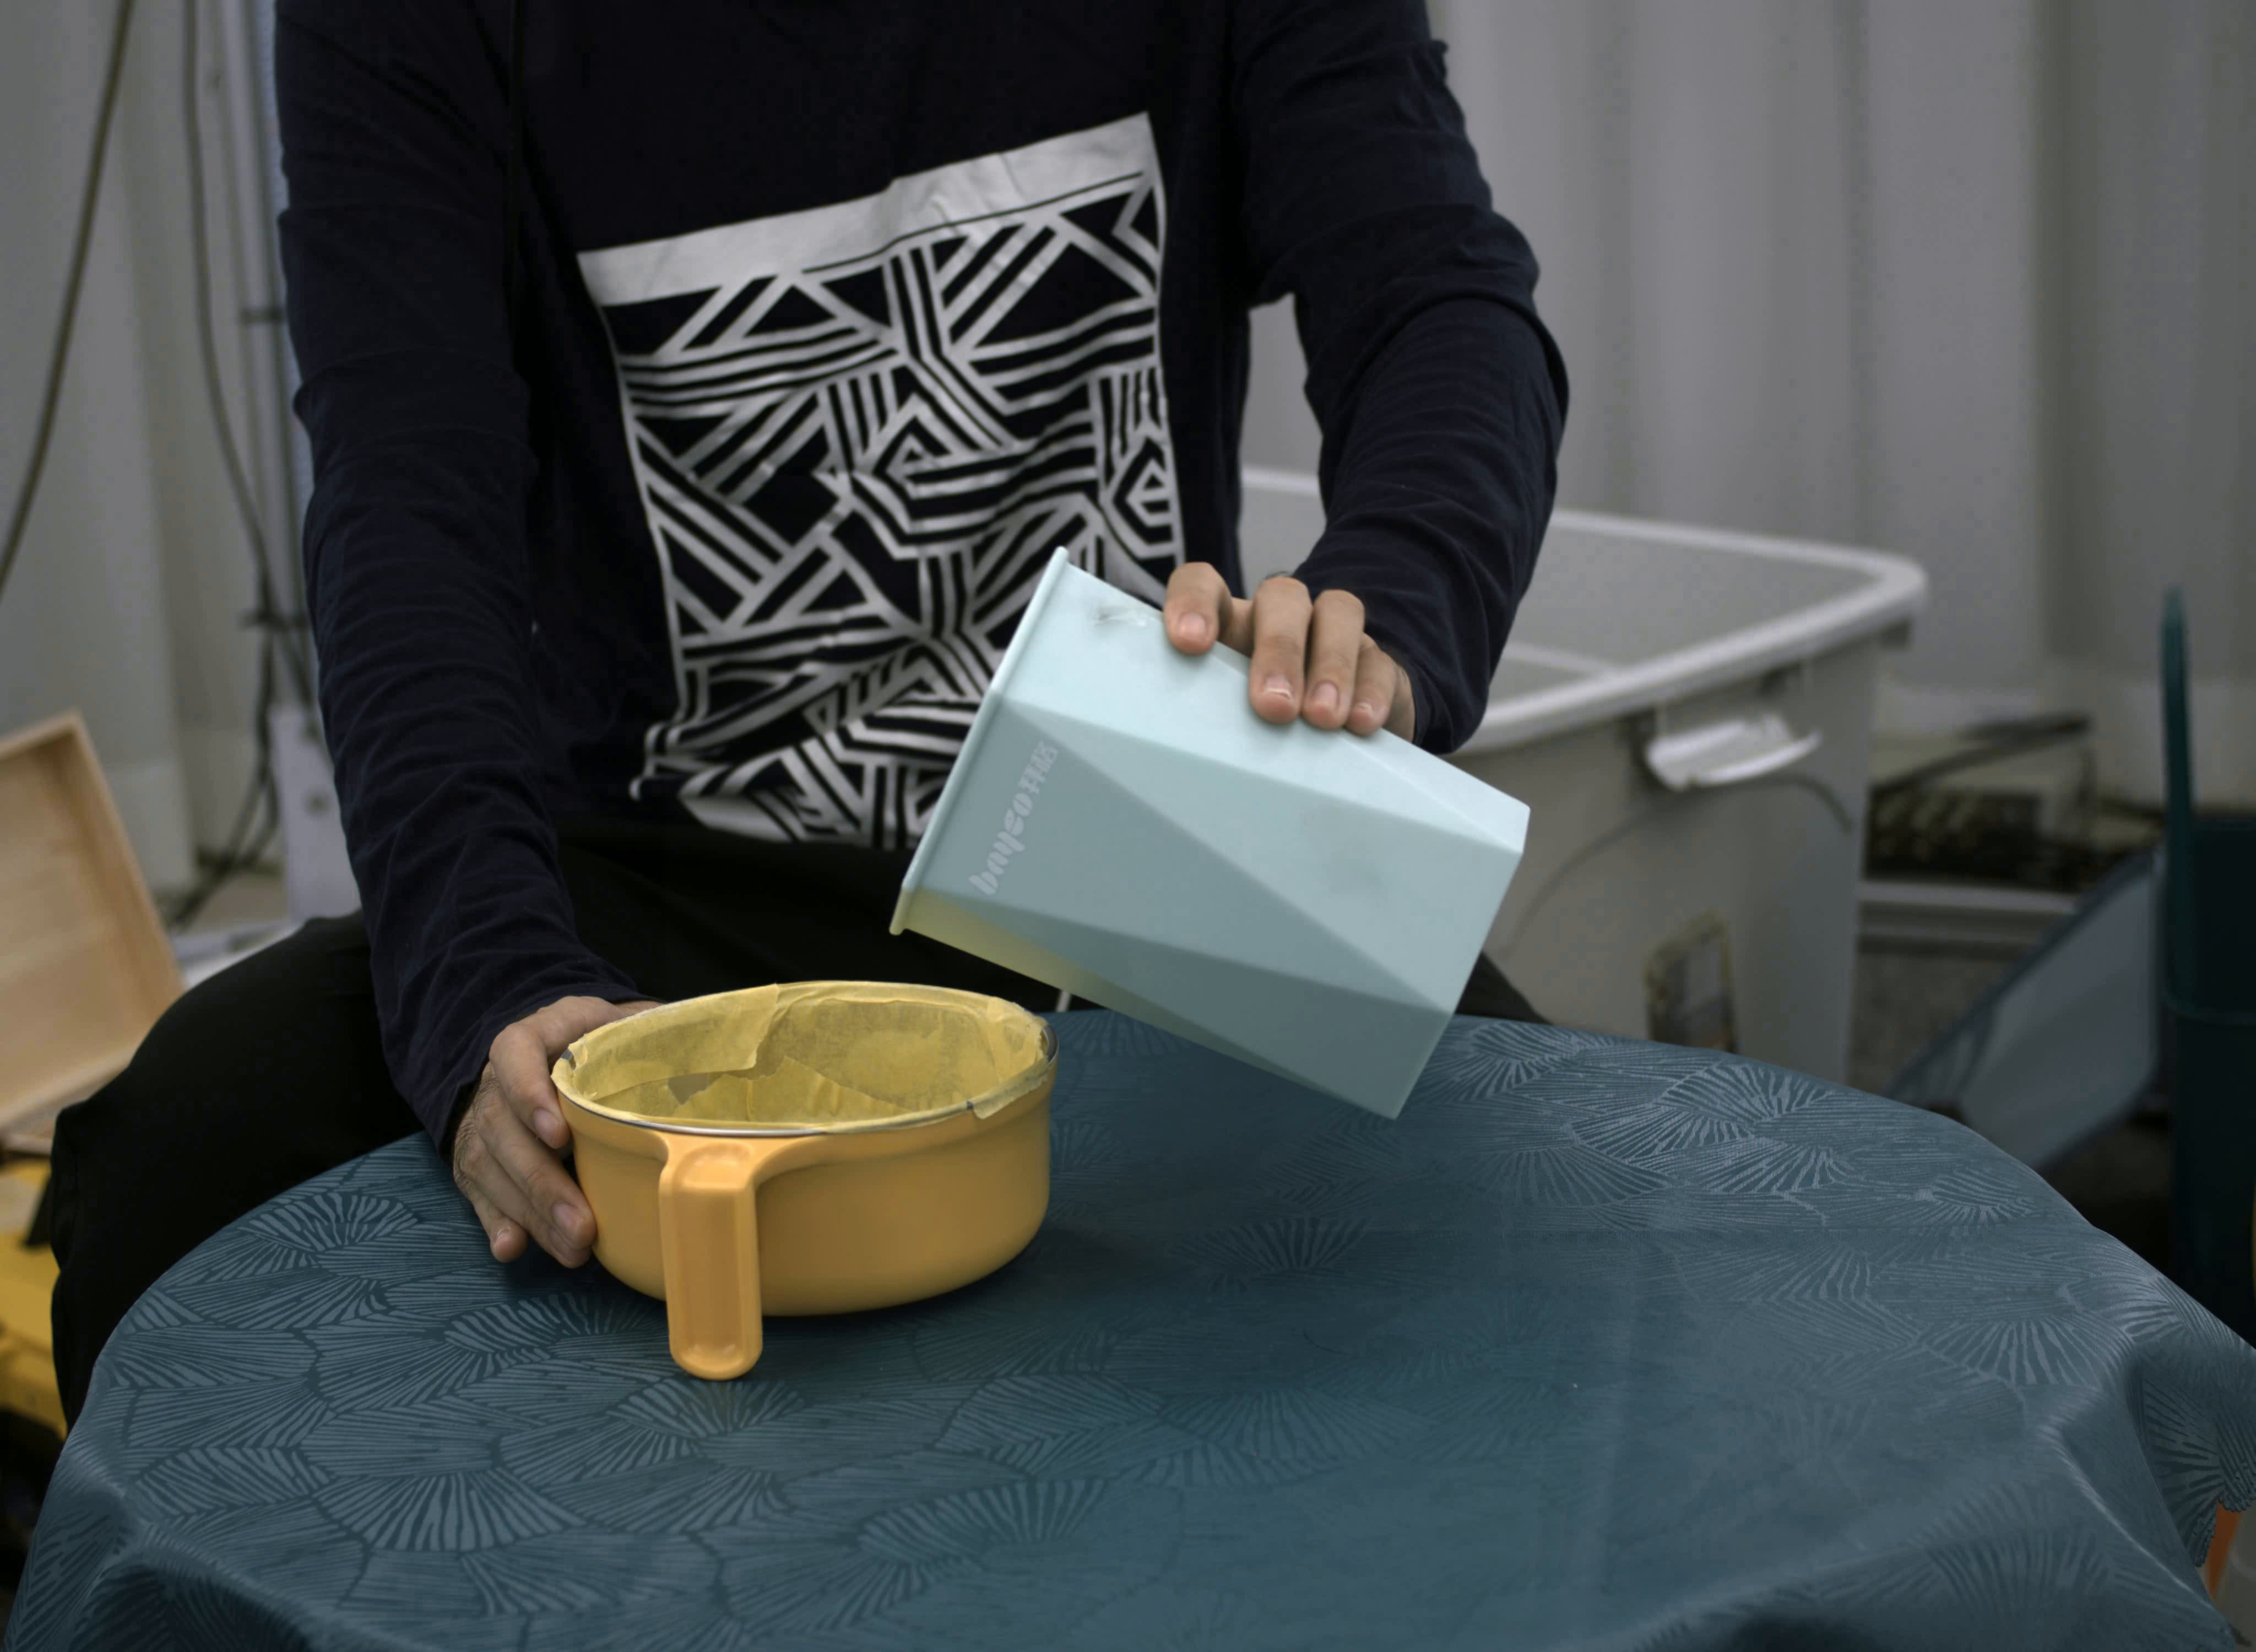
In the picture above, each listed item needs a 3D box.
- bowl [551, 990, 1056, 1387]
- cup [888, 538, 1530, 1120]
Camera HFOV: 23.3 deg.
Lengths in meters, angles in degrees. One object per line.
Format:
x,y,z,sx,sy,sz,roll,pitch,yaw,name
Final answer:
-0.099,0.105,1.643,0.153,0.074,0.180,0,13,11,bowl
0.027,0.006,1.626,0.162,0.130,0.115,26,14,1,cup
